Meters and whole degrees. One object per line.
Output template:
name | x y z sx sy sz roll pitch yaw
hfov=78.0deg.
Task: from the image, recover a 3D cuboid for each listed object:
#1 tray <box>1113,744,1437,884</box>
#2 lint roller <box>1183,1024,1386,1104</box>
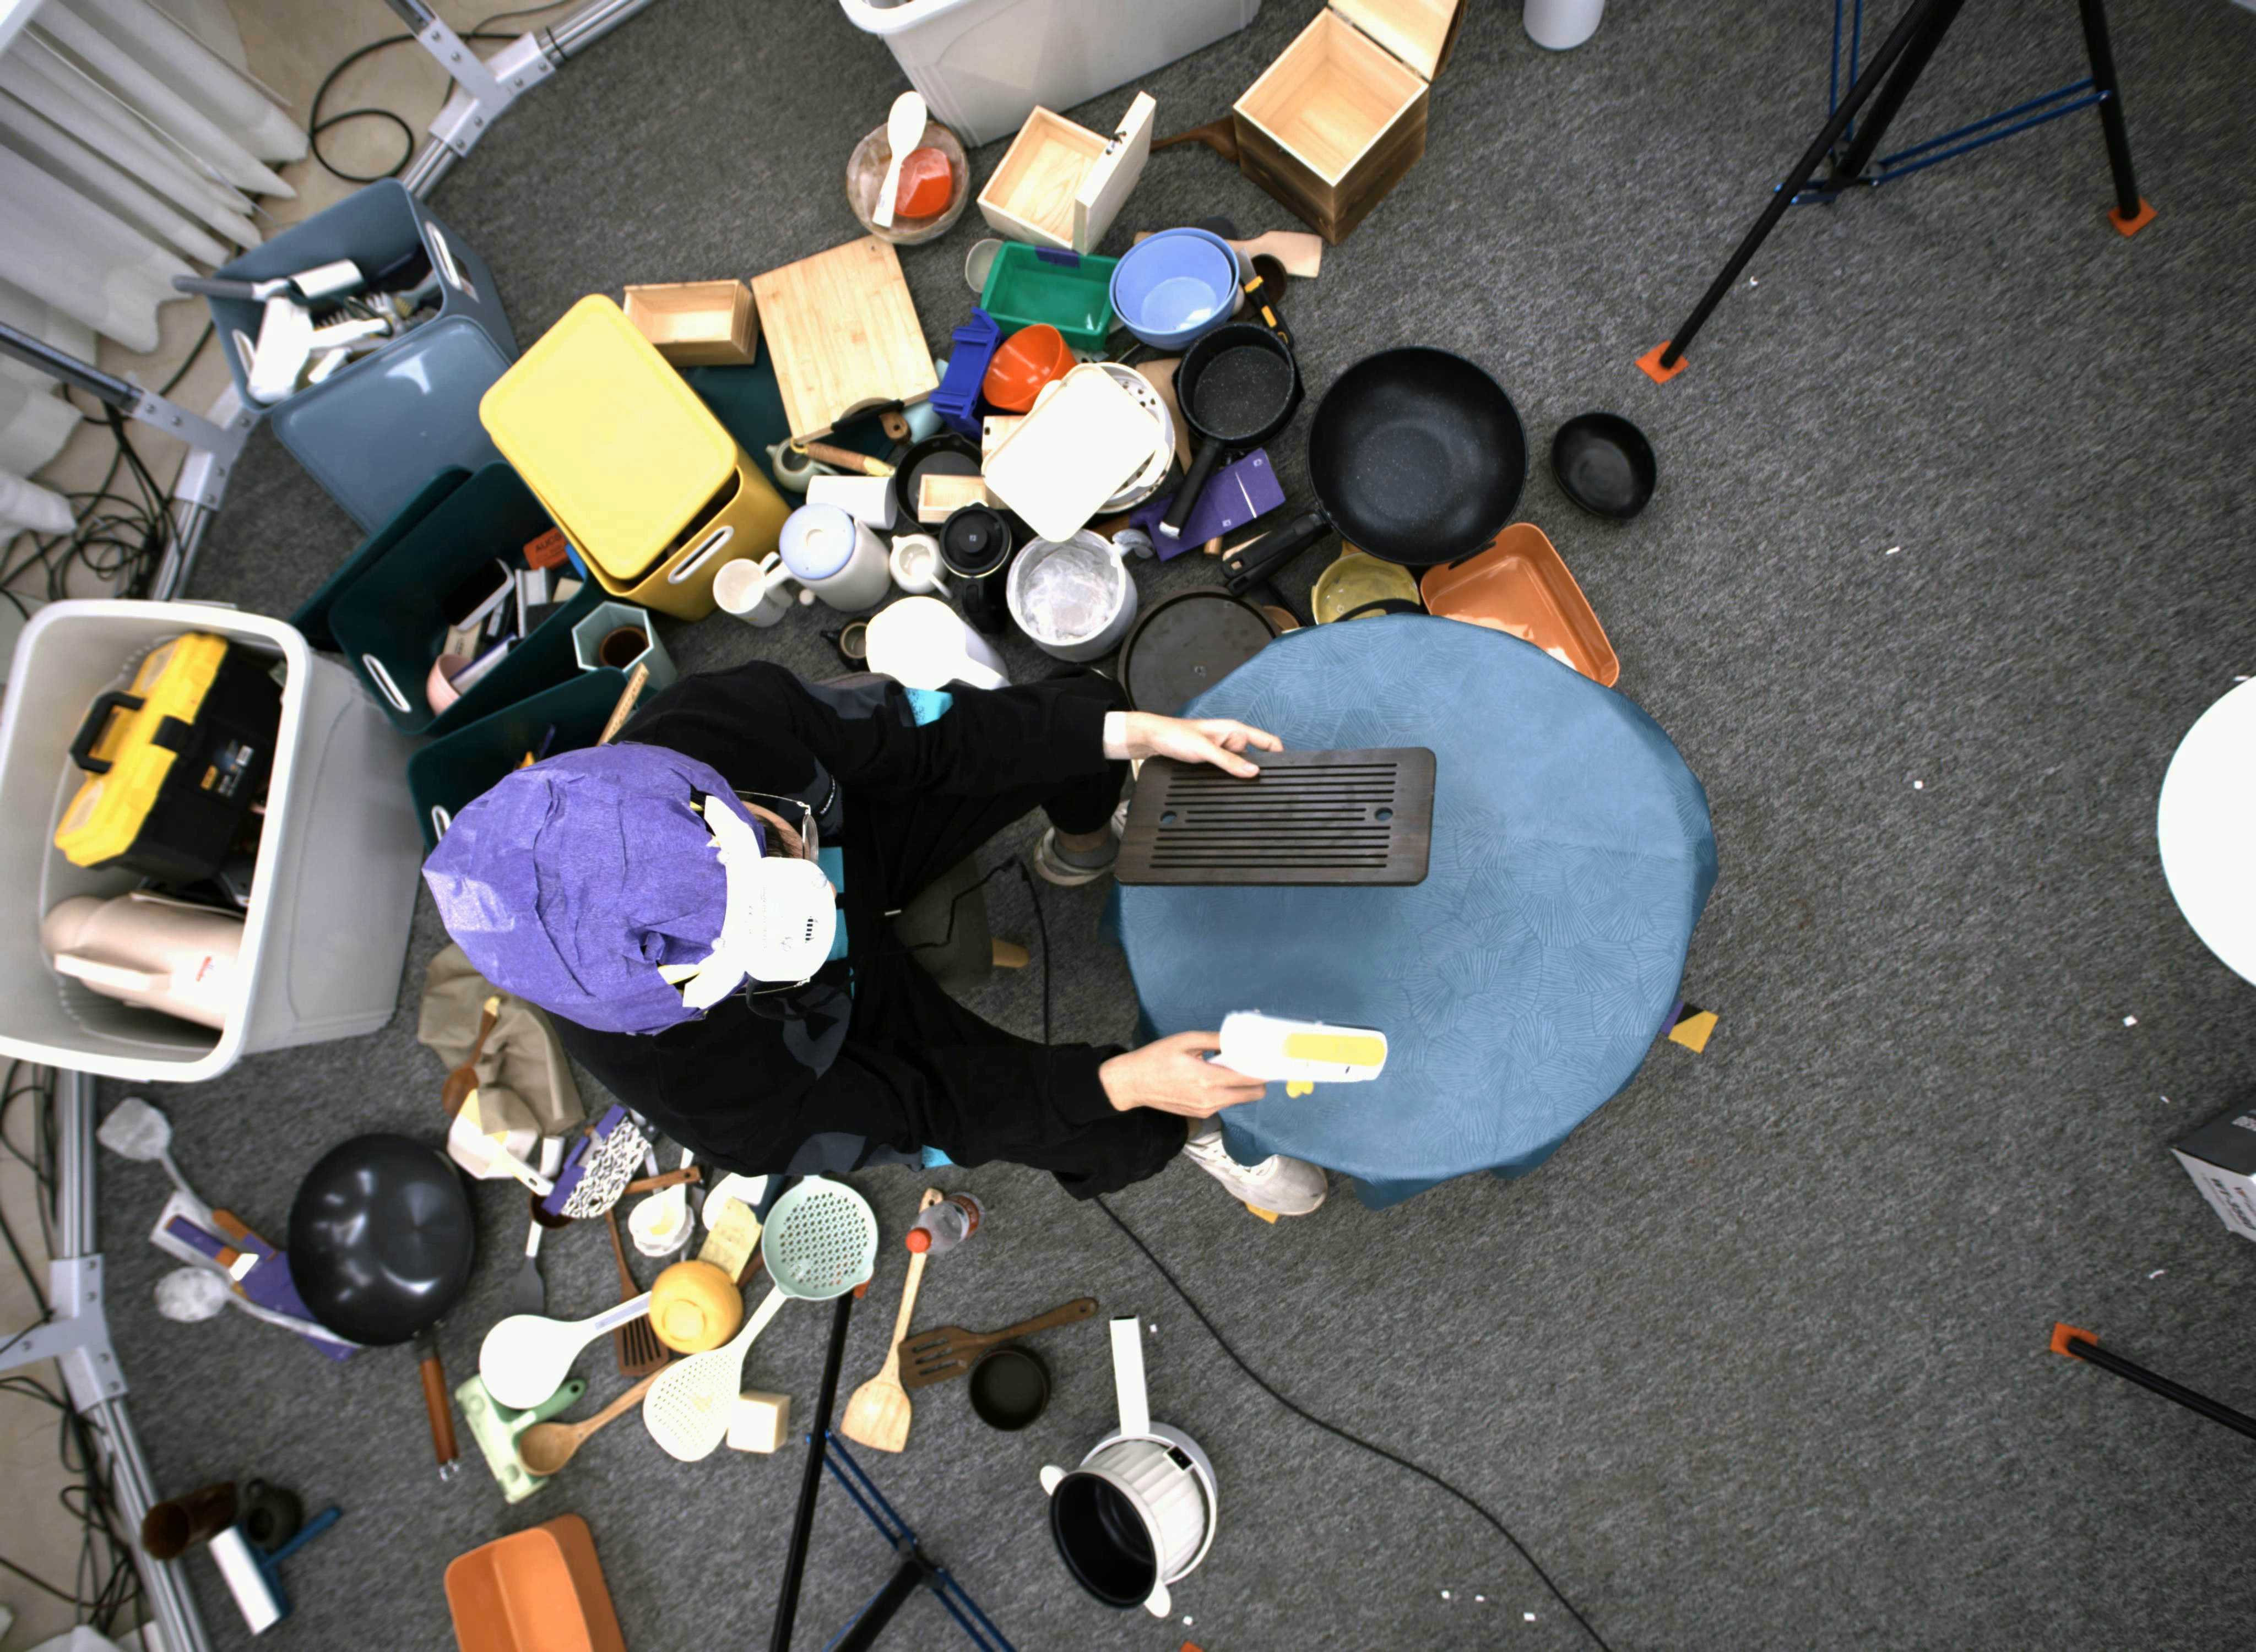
tray | 0.145 -0.010 1.355 0.308 0.019 0.165 -1 52 19
lint roller | 0.123 0.221 1.317 0.194 0.191 0.074 -8 85 50
